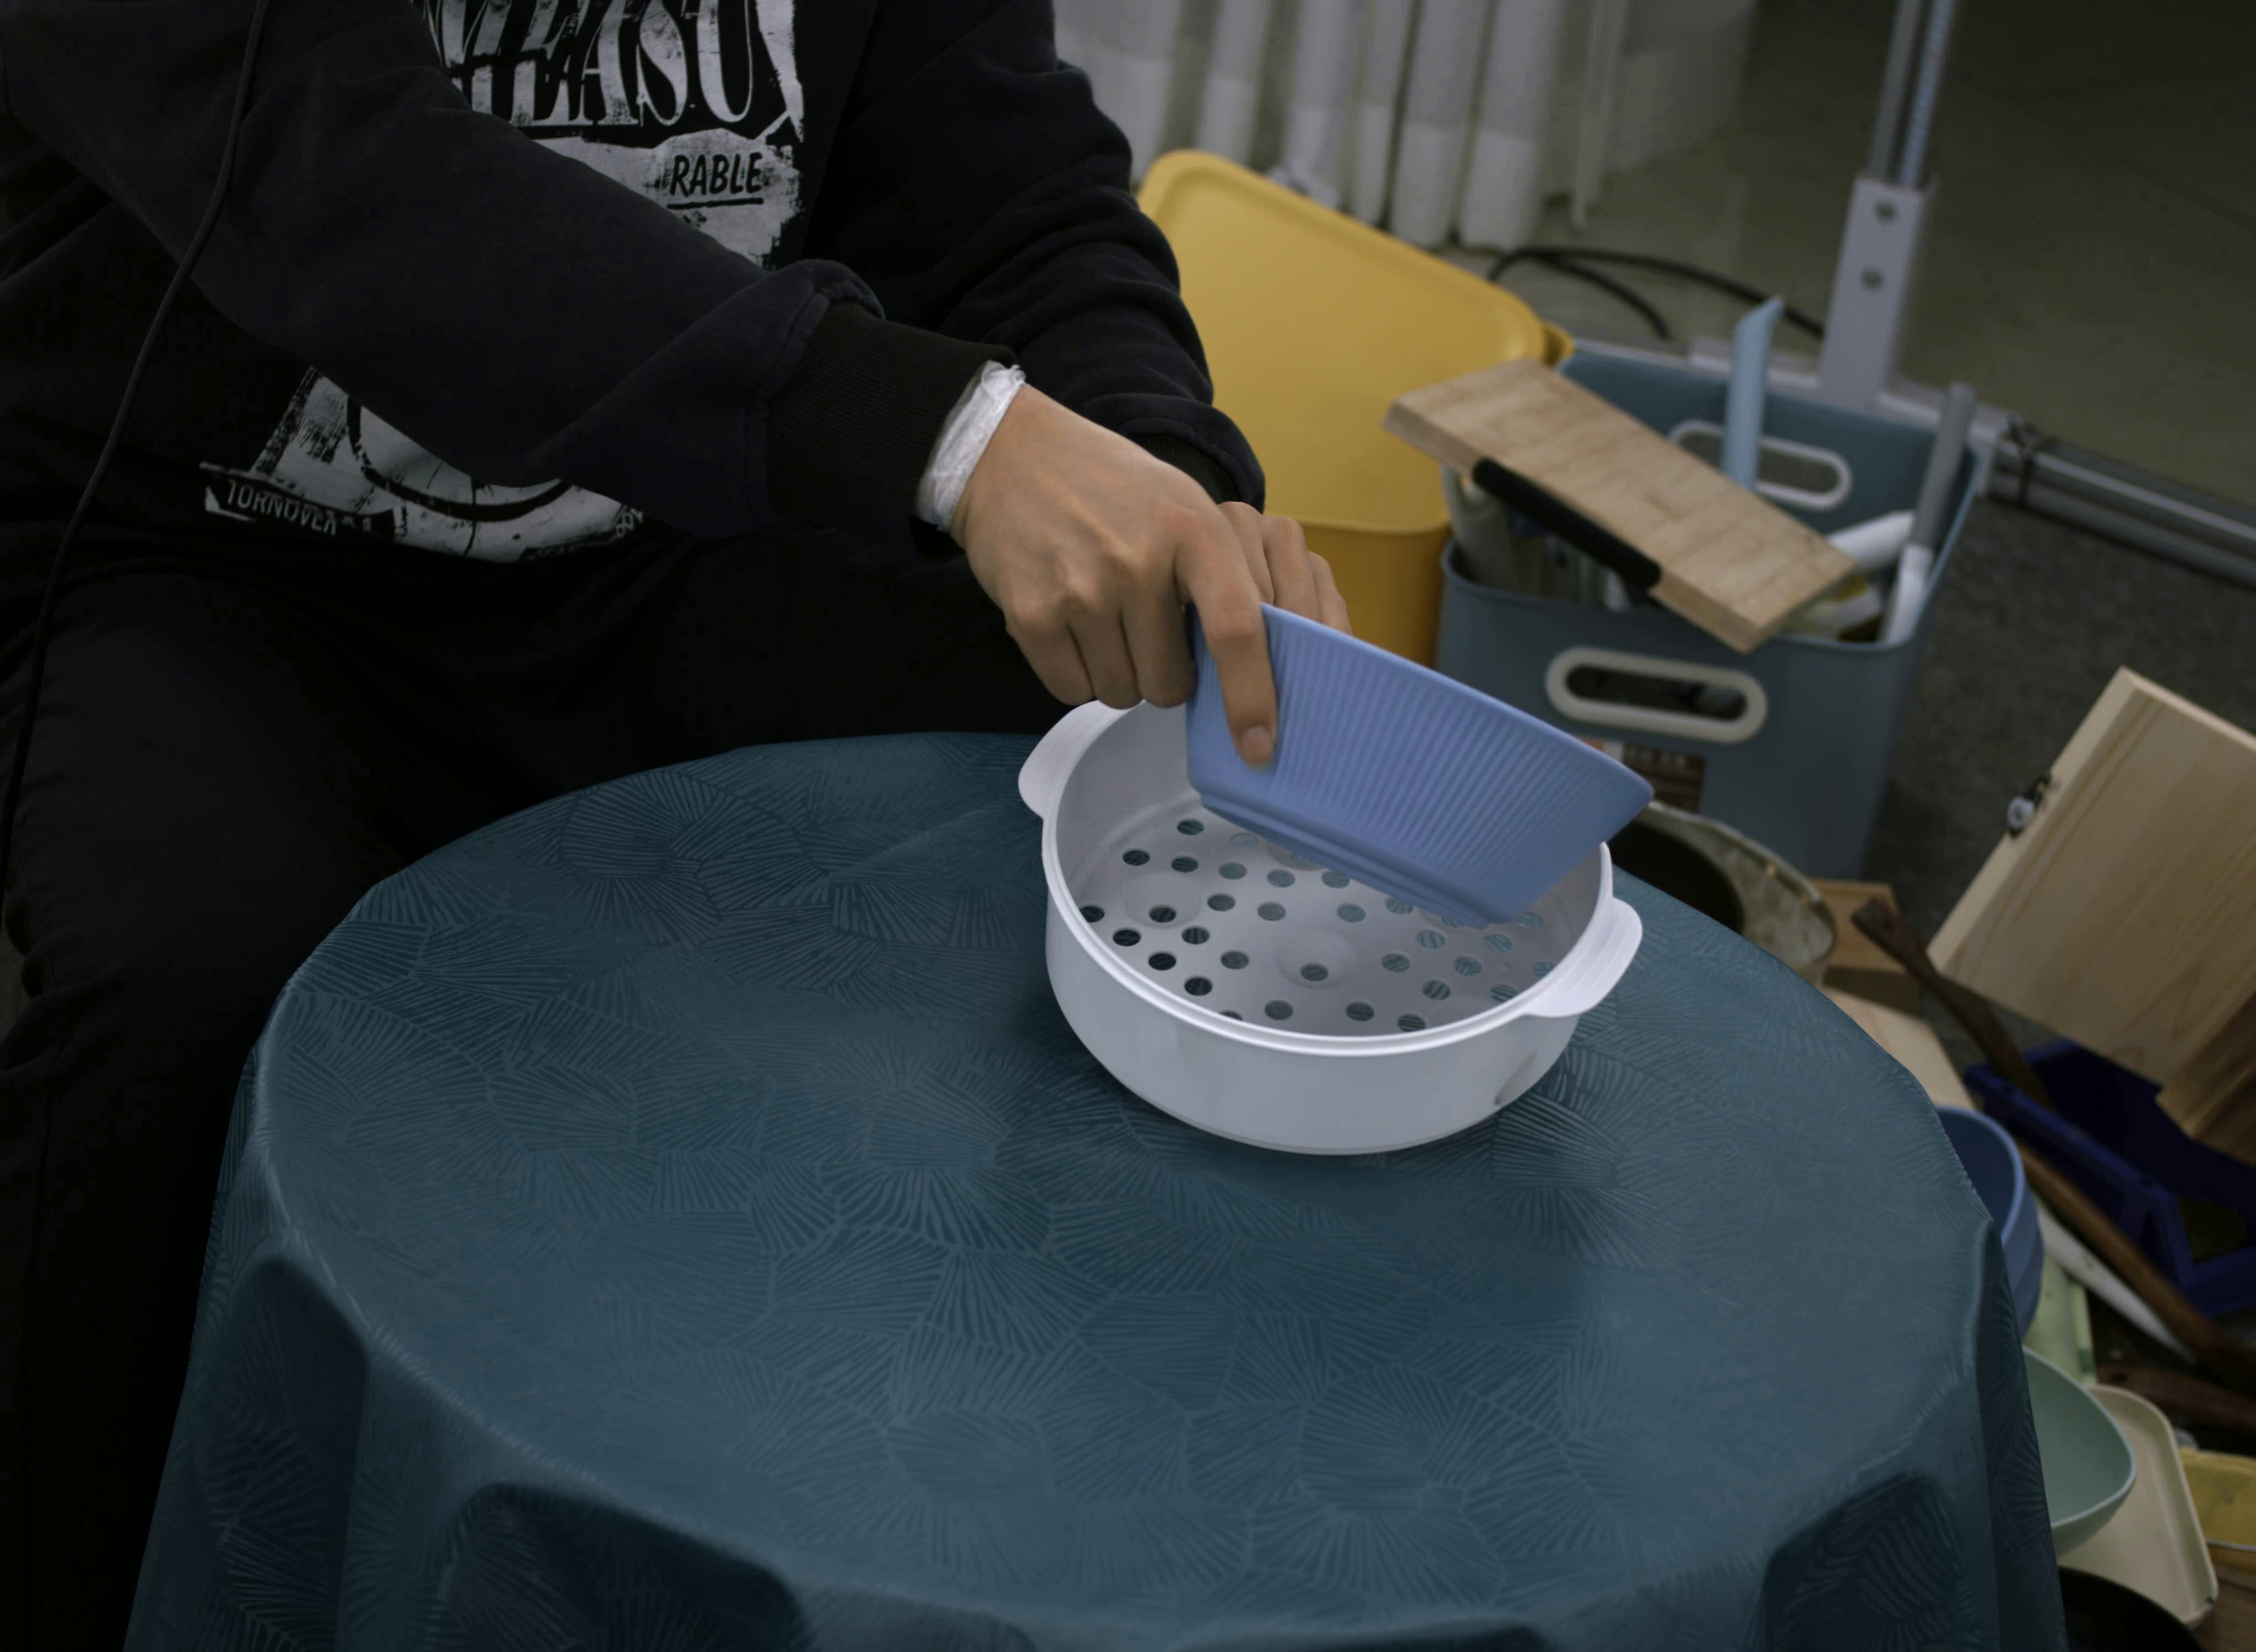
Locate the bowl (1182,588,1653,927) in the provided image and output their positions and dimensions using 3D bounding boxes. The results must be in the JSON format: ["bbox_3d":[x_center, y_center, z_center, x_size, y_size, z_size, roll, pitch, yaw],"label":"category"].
[{"bbox_3d":[0.087,-0.018,1.827,0.176,0.070,0.176,24,-3,1],"label":"bowl"}]

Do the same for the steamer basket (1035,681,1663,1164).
[{"bbox_3d":[0.074,0.032,1.881,0.231,0.069,0.202,23,46,17],"label":"steamer basket"}]
